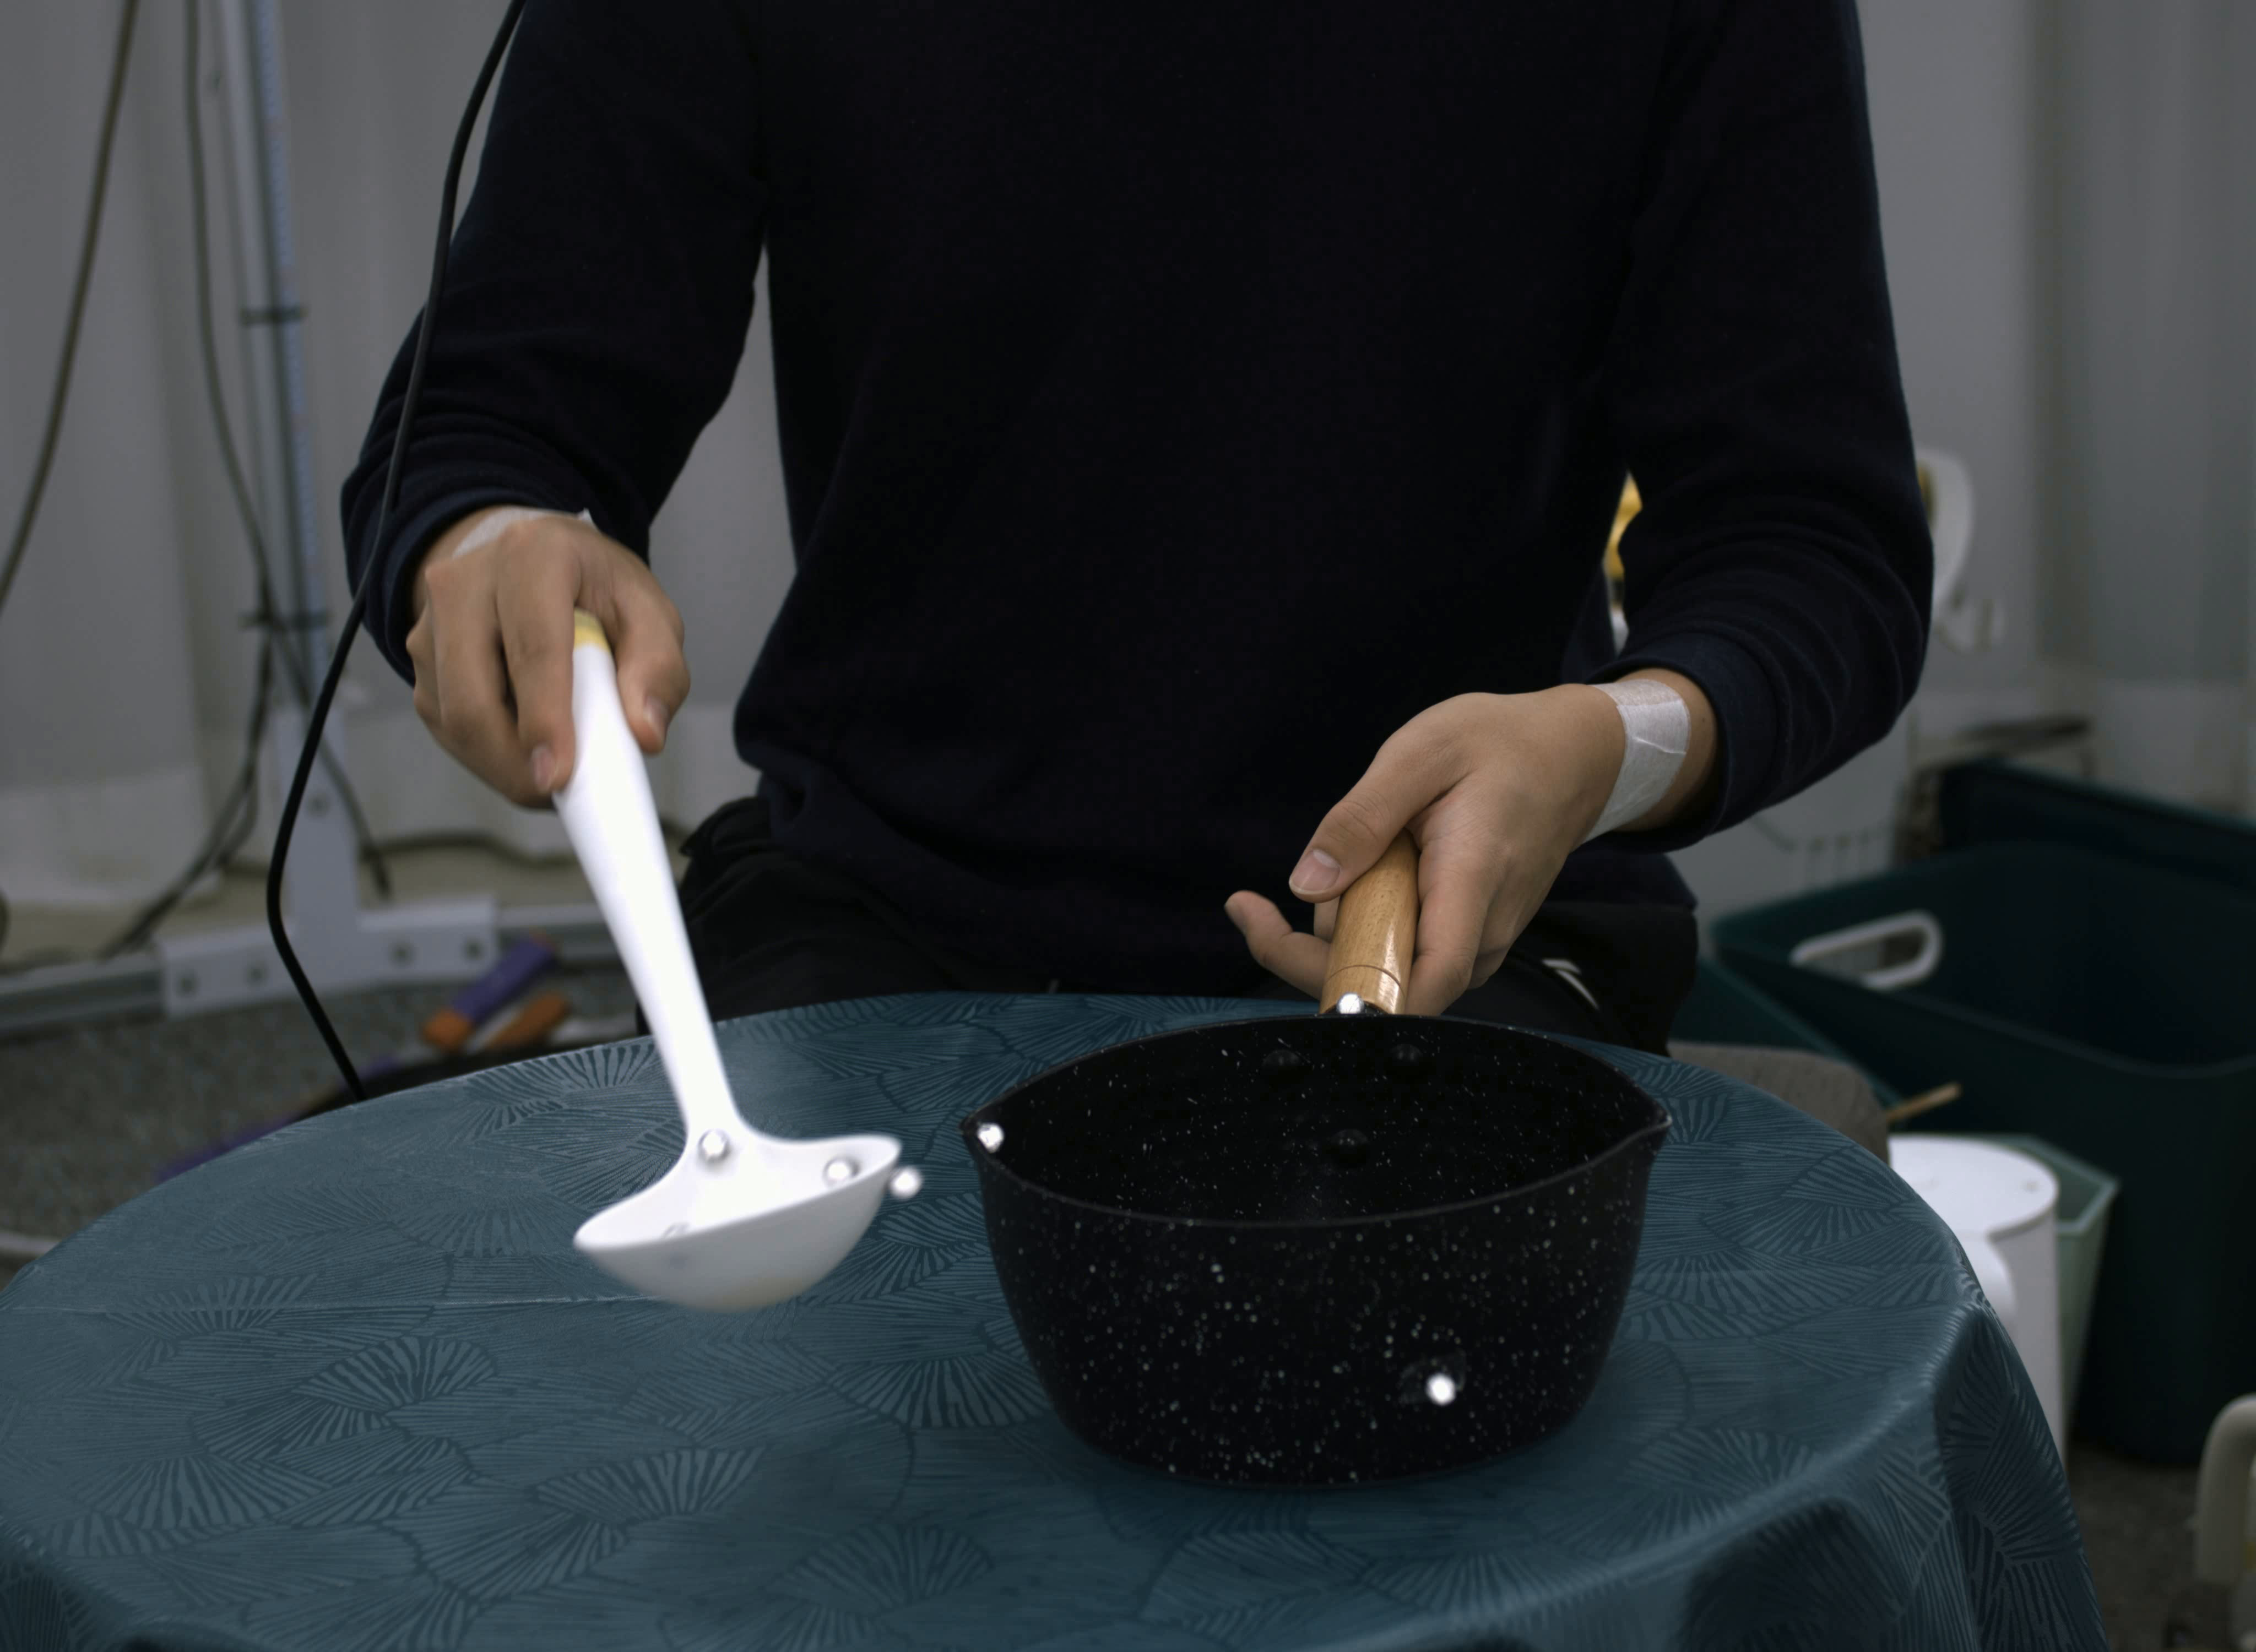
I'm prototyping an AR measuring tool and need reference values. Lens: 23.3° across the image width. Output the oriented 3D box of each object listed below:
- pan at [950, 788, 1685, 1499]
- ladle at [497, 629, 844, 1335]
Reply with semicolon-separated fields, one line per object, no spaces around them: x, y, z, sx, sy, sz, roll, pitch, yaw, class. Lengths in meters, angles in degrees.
0.062;0.087;1.598;0.207;0.108;0.345;-2;16;8;pan
-0.144;0.034;1.547;0.090;0.069;0.297;-22;44;1;ladle
